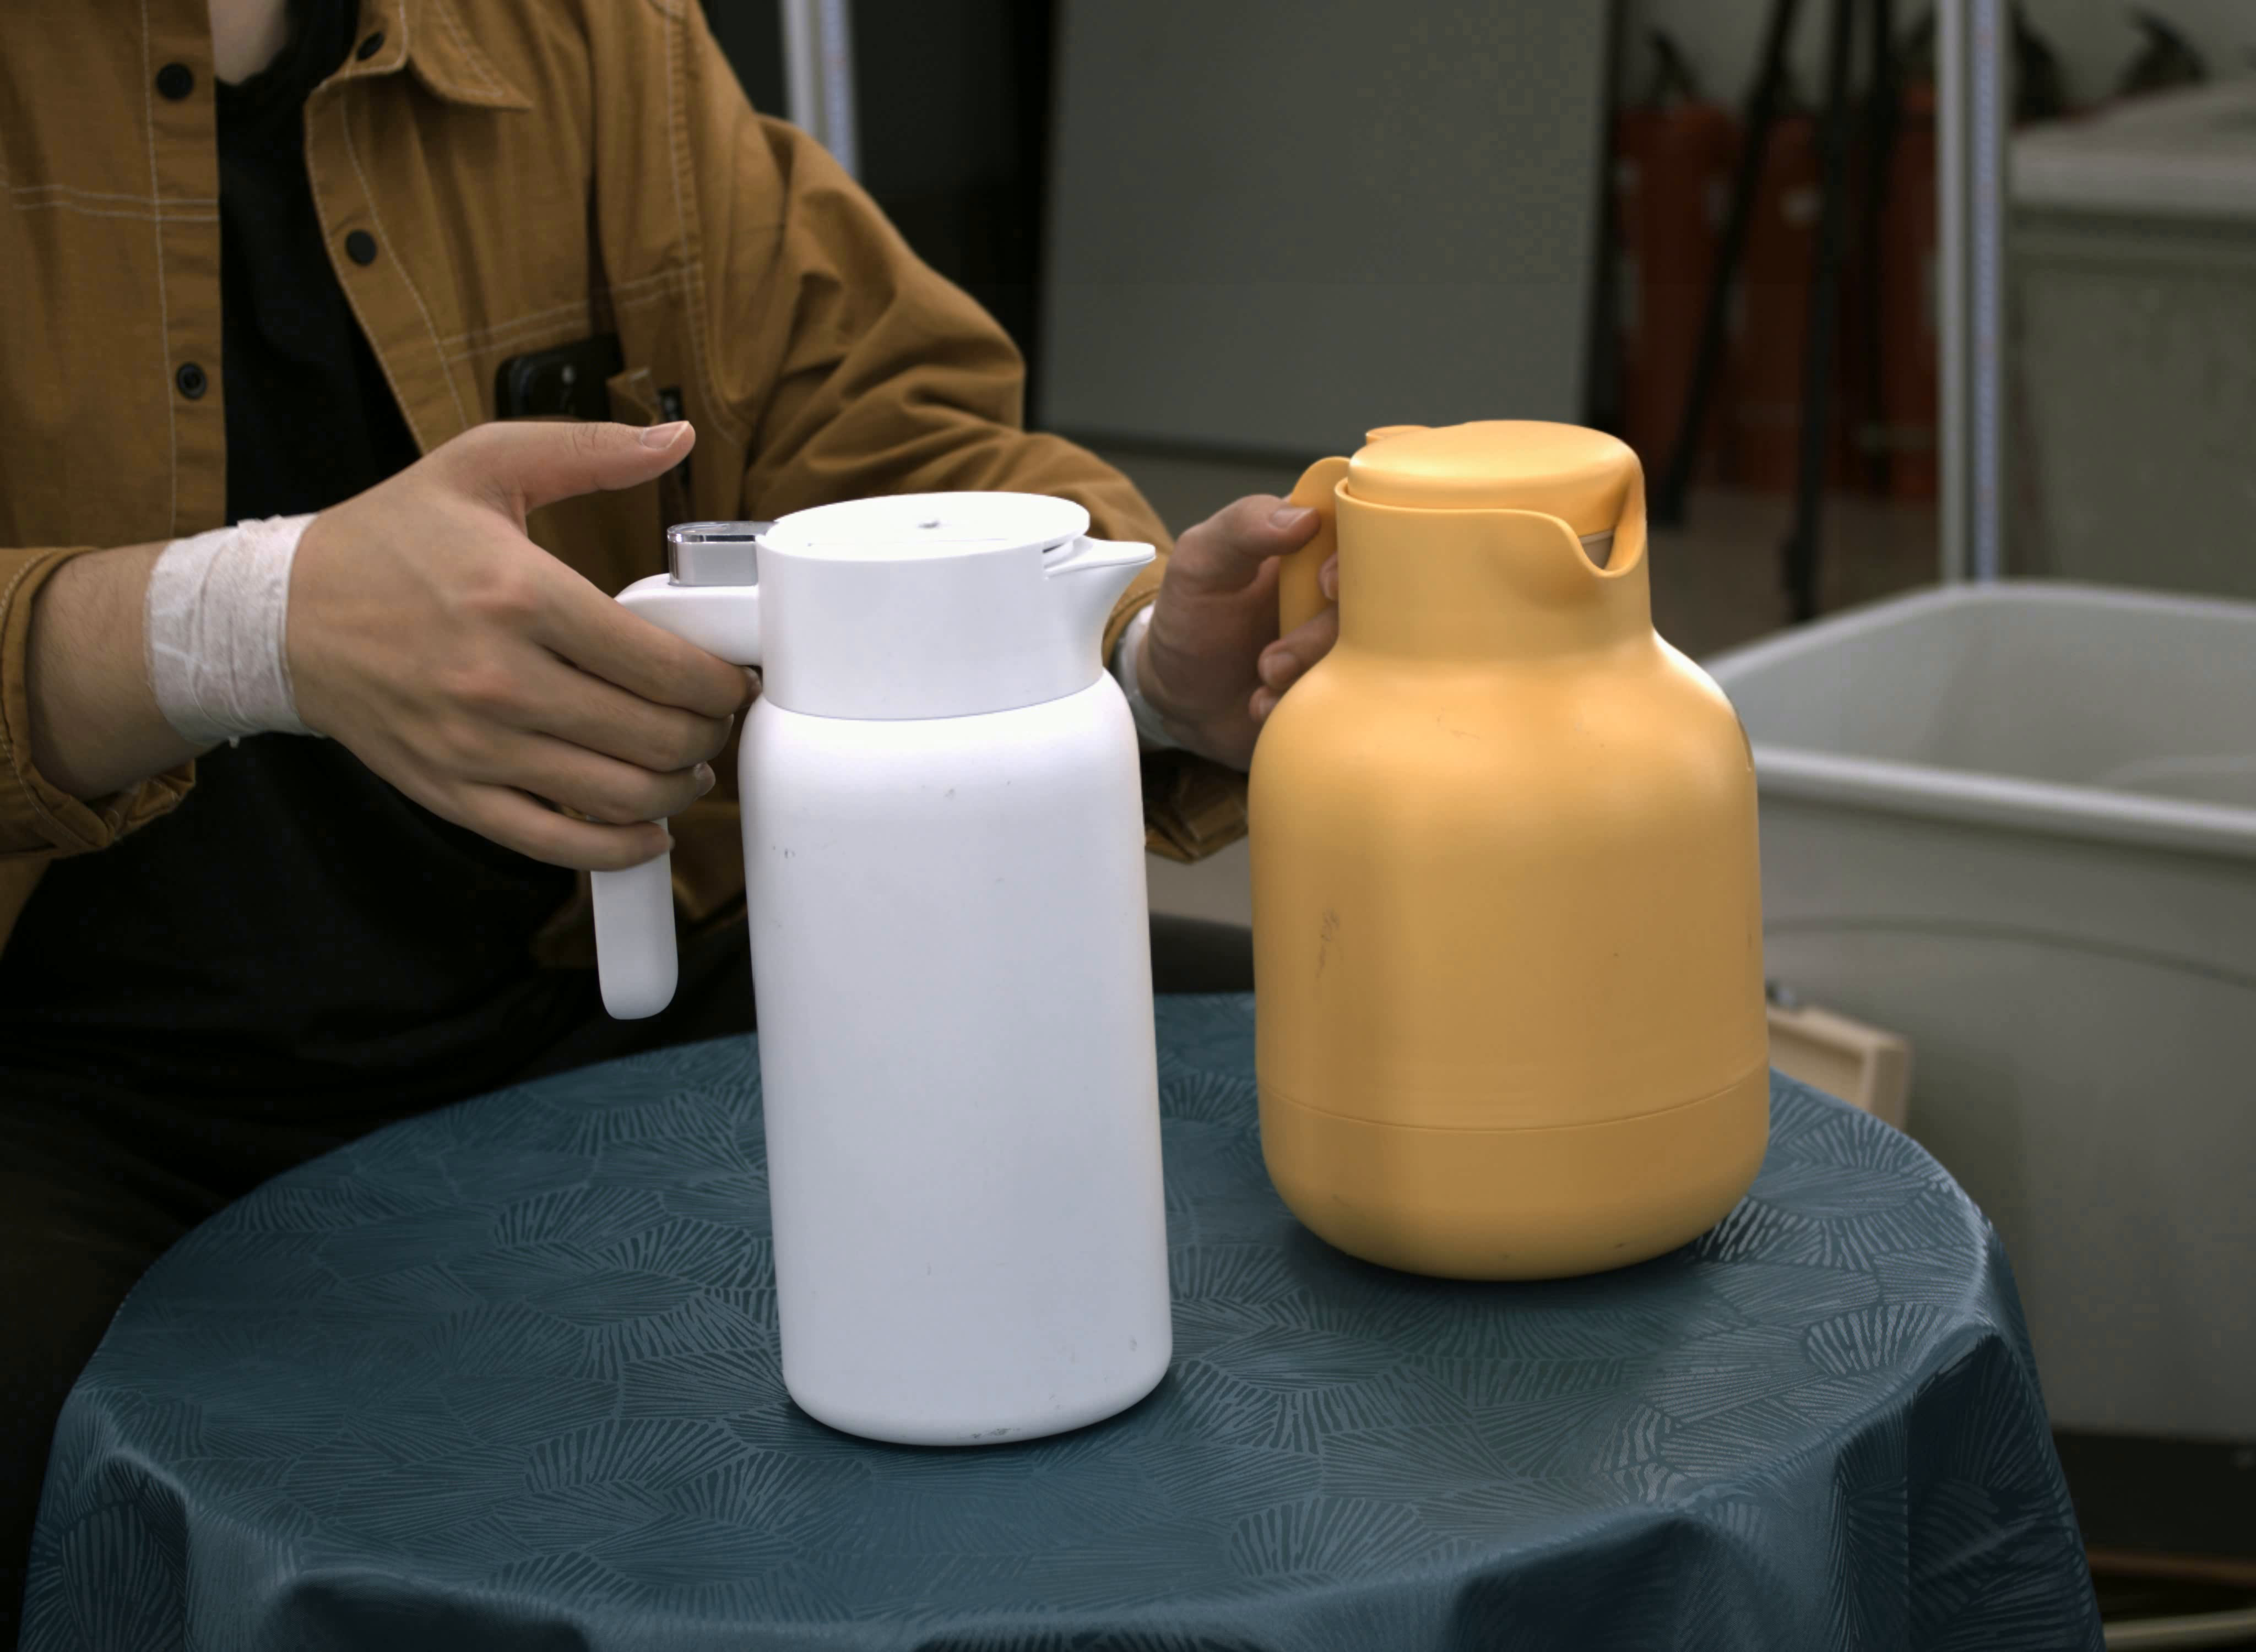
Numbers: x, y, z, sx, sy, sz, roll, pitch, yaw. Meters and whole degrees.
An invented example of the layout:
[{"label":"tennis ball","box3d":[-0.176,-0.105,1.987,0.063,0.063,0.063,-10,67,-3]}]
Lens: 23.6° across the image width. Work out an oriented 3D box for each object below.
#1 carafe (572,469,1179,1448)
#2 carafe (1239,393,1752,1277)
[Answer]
[{"label":"carafe","box3d":[-0.068,0.038,1.570,0.171,0.271,0.123,-3,15,11]},{"label":"carafe","box3d":[0.107,-0.005,1.698,0.160,0.263,0.204,-6,15,-22]}]
